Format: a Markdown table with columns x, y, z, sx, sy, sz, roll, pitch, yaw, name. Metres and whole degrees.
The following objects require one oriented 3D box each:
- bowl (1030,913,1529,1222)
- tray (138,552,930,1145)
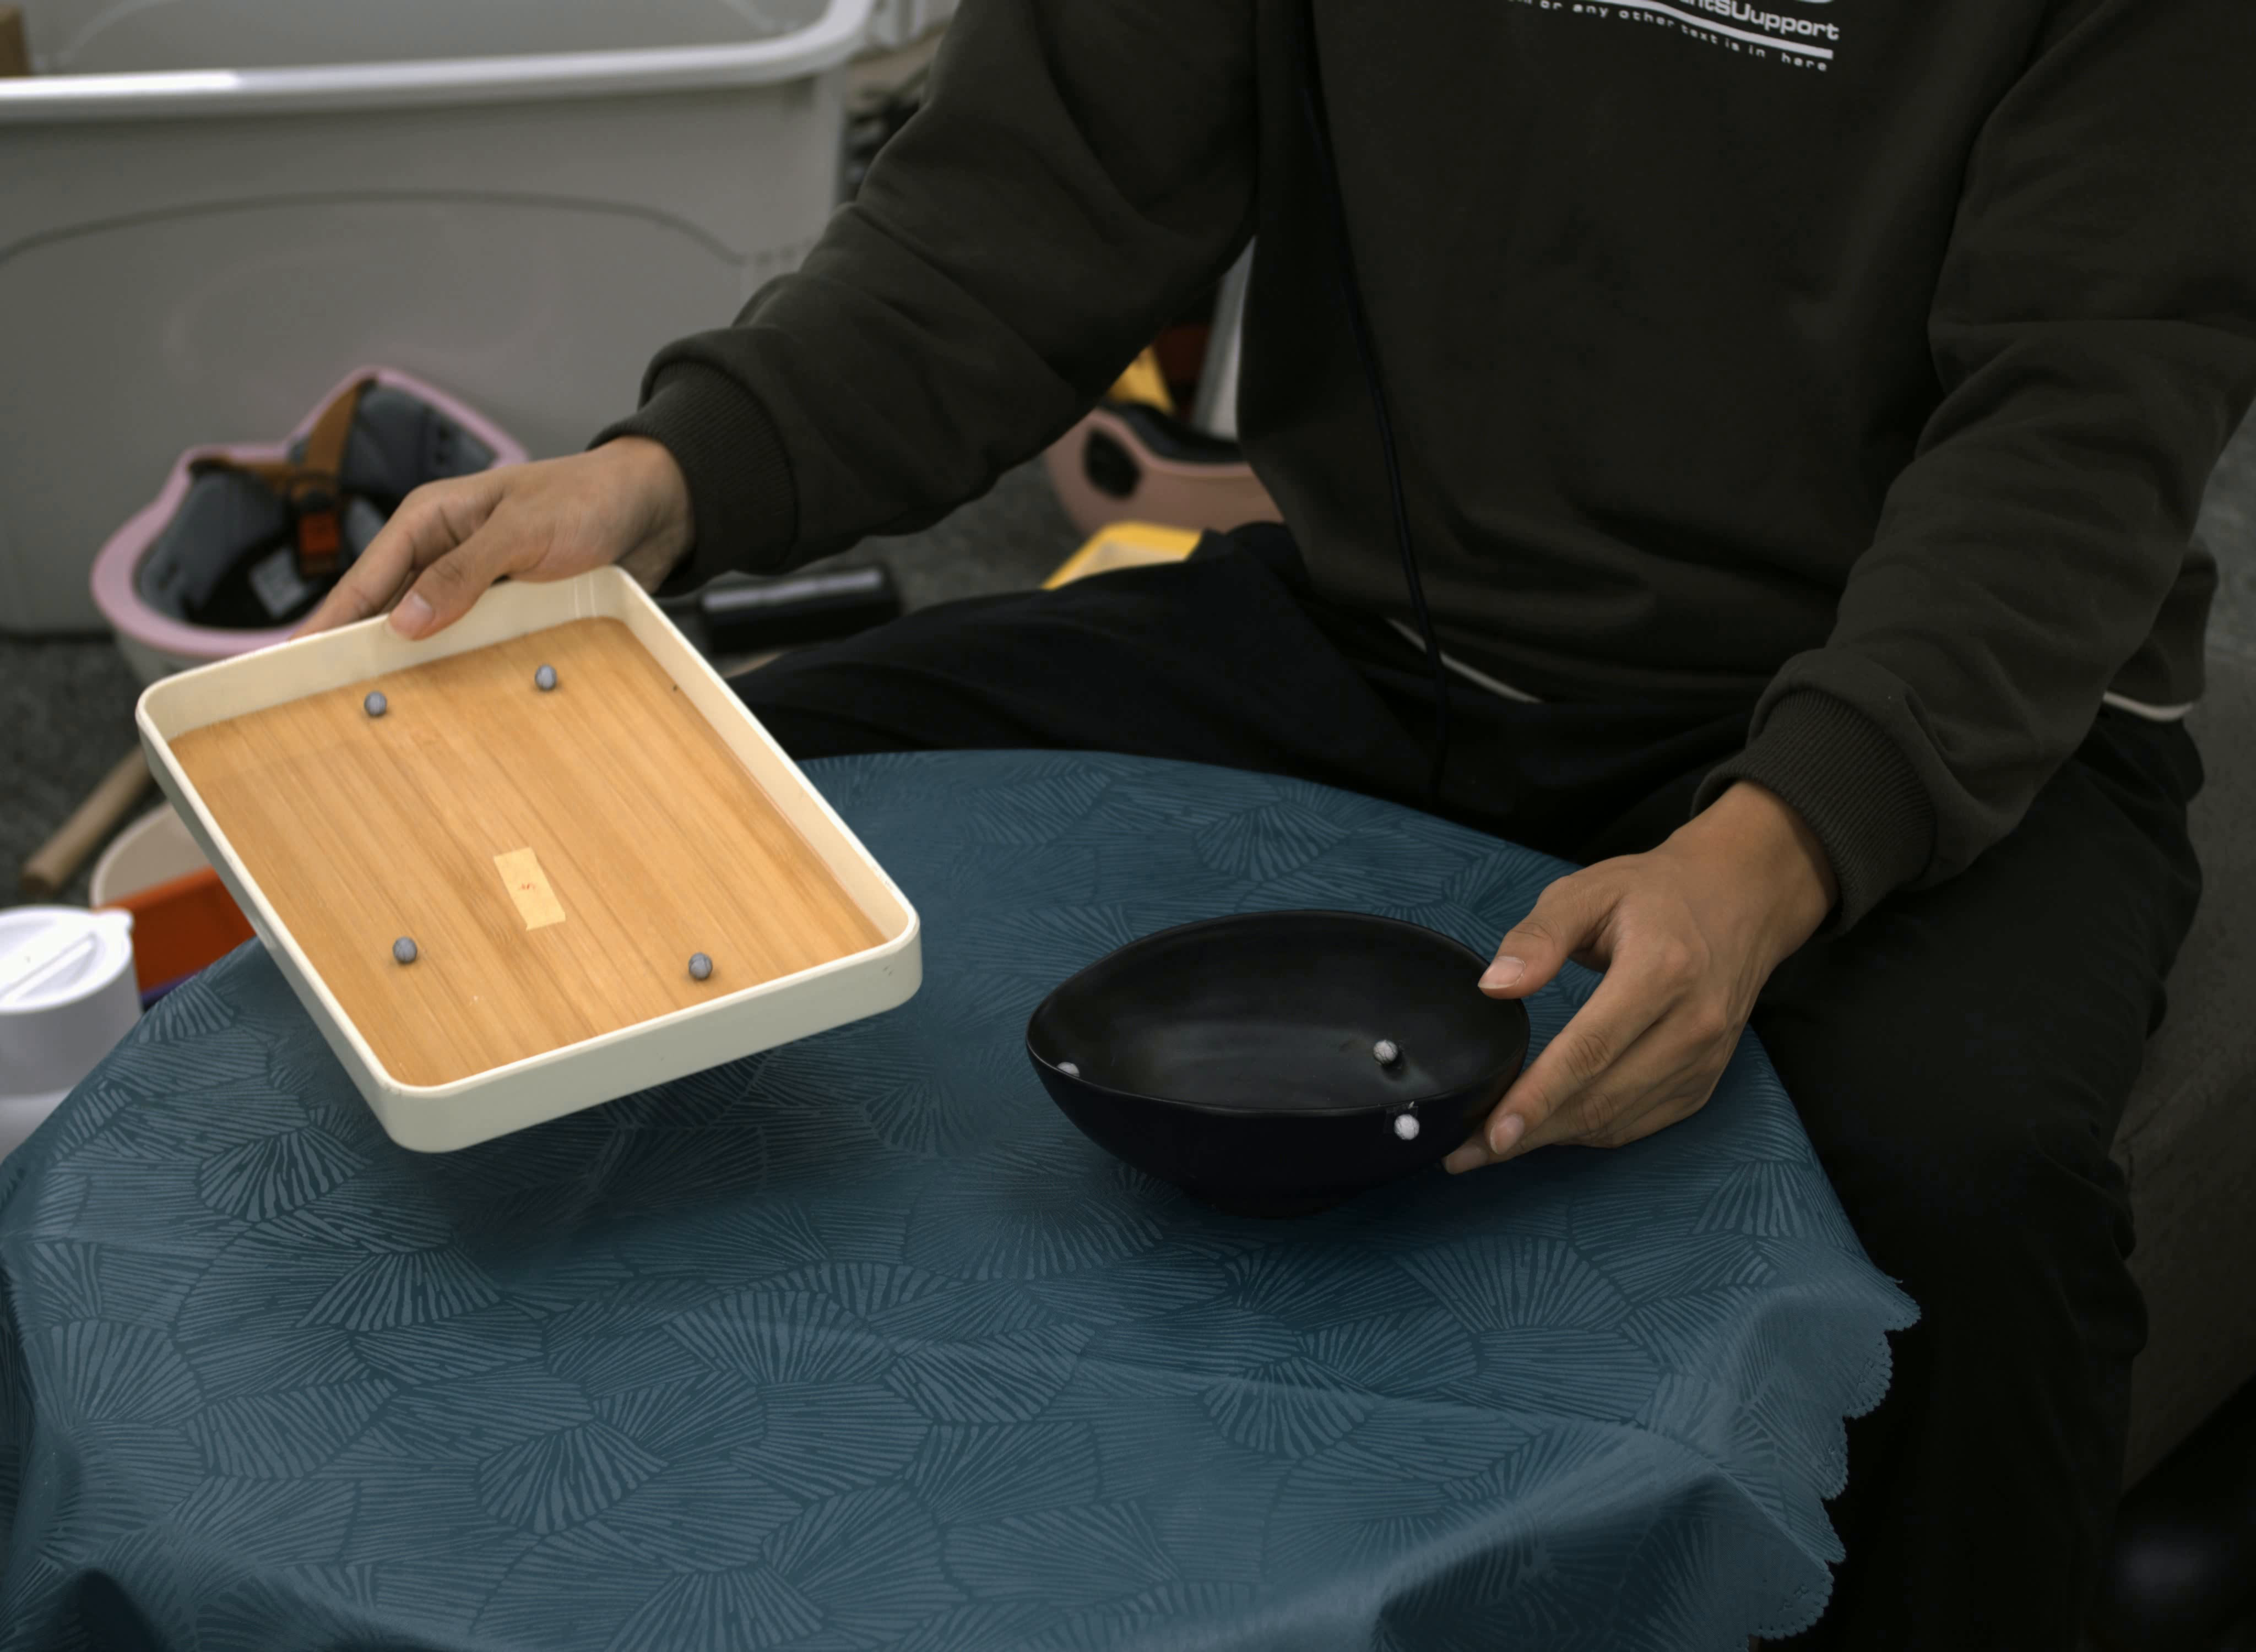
| x | y | z | sx | sy | sz | roll | pitch | yaw | name |
| --- | --- | --- | --- | --- | --- | --- | --- | --- | --- |
| 0.049 | 0.088 | 1.860 | 0.169 | 0.066 | 0.139 | 3 | 26 | 15 | bowl |
| -0.209 | 0.002 | 1.939 | 0.192 | 0.027 | 0.302 | -17 | 35 | -20 | tray |
